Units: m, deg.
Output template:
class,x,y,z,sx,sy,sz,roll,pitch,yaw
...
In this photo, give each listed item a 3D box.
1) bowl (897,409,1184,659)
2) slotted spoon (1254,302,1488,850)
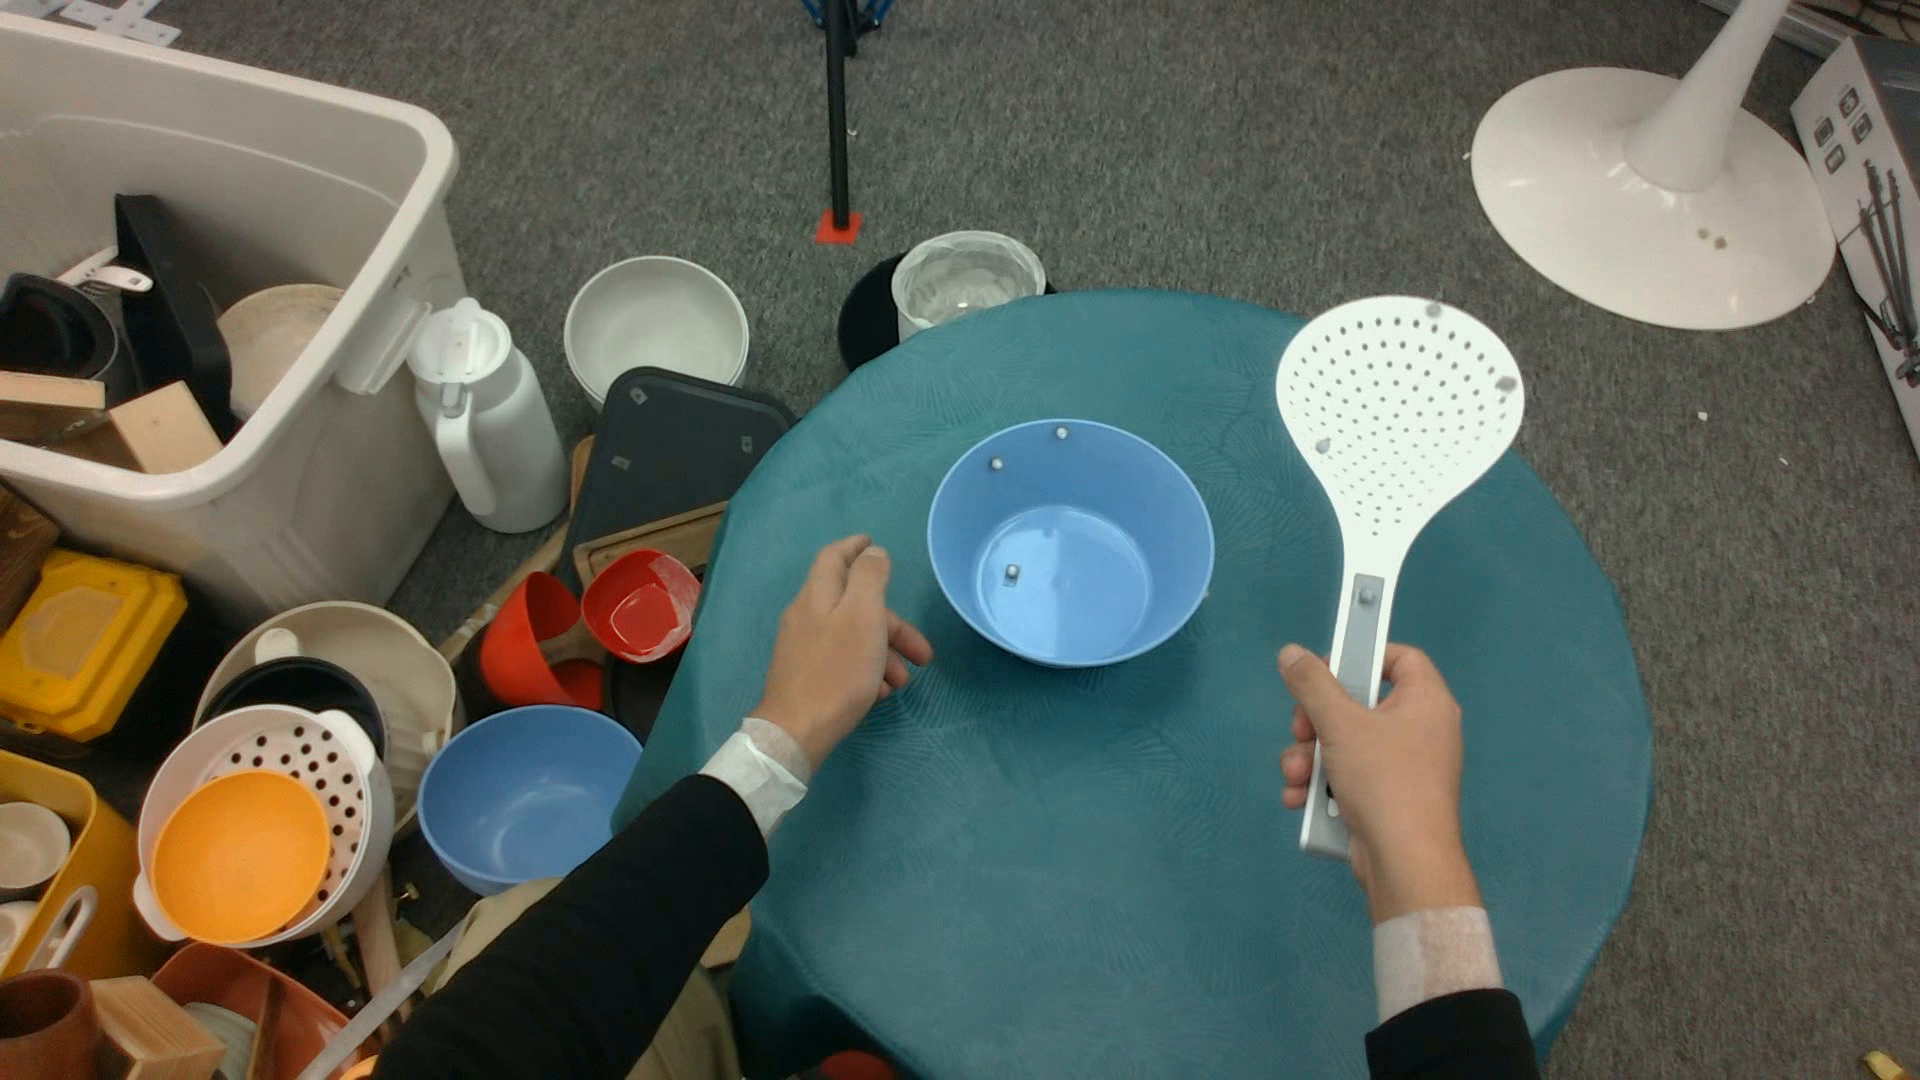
class,x,y,z,sx,sy,sz,roll,pitch,yaw
bowl,0.048,0.008,0.863,0.176,0.070,0.177,1,59,-2
slotted spoon,0.213,0.006,0.766,0.136,0.045,0.351,12,55,10
